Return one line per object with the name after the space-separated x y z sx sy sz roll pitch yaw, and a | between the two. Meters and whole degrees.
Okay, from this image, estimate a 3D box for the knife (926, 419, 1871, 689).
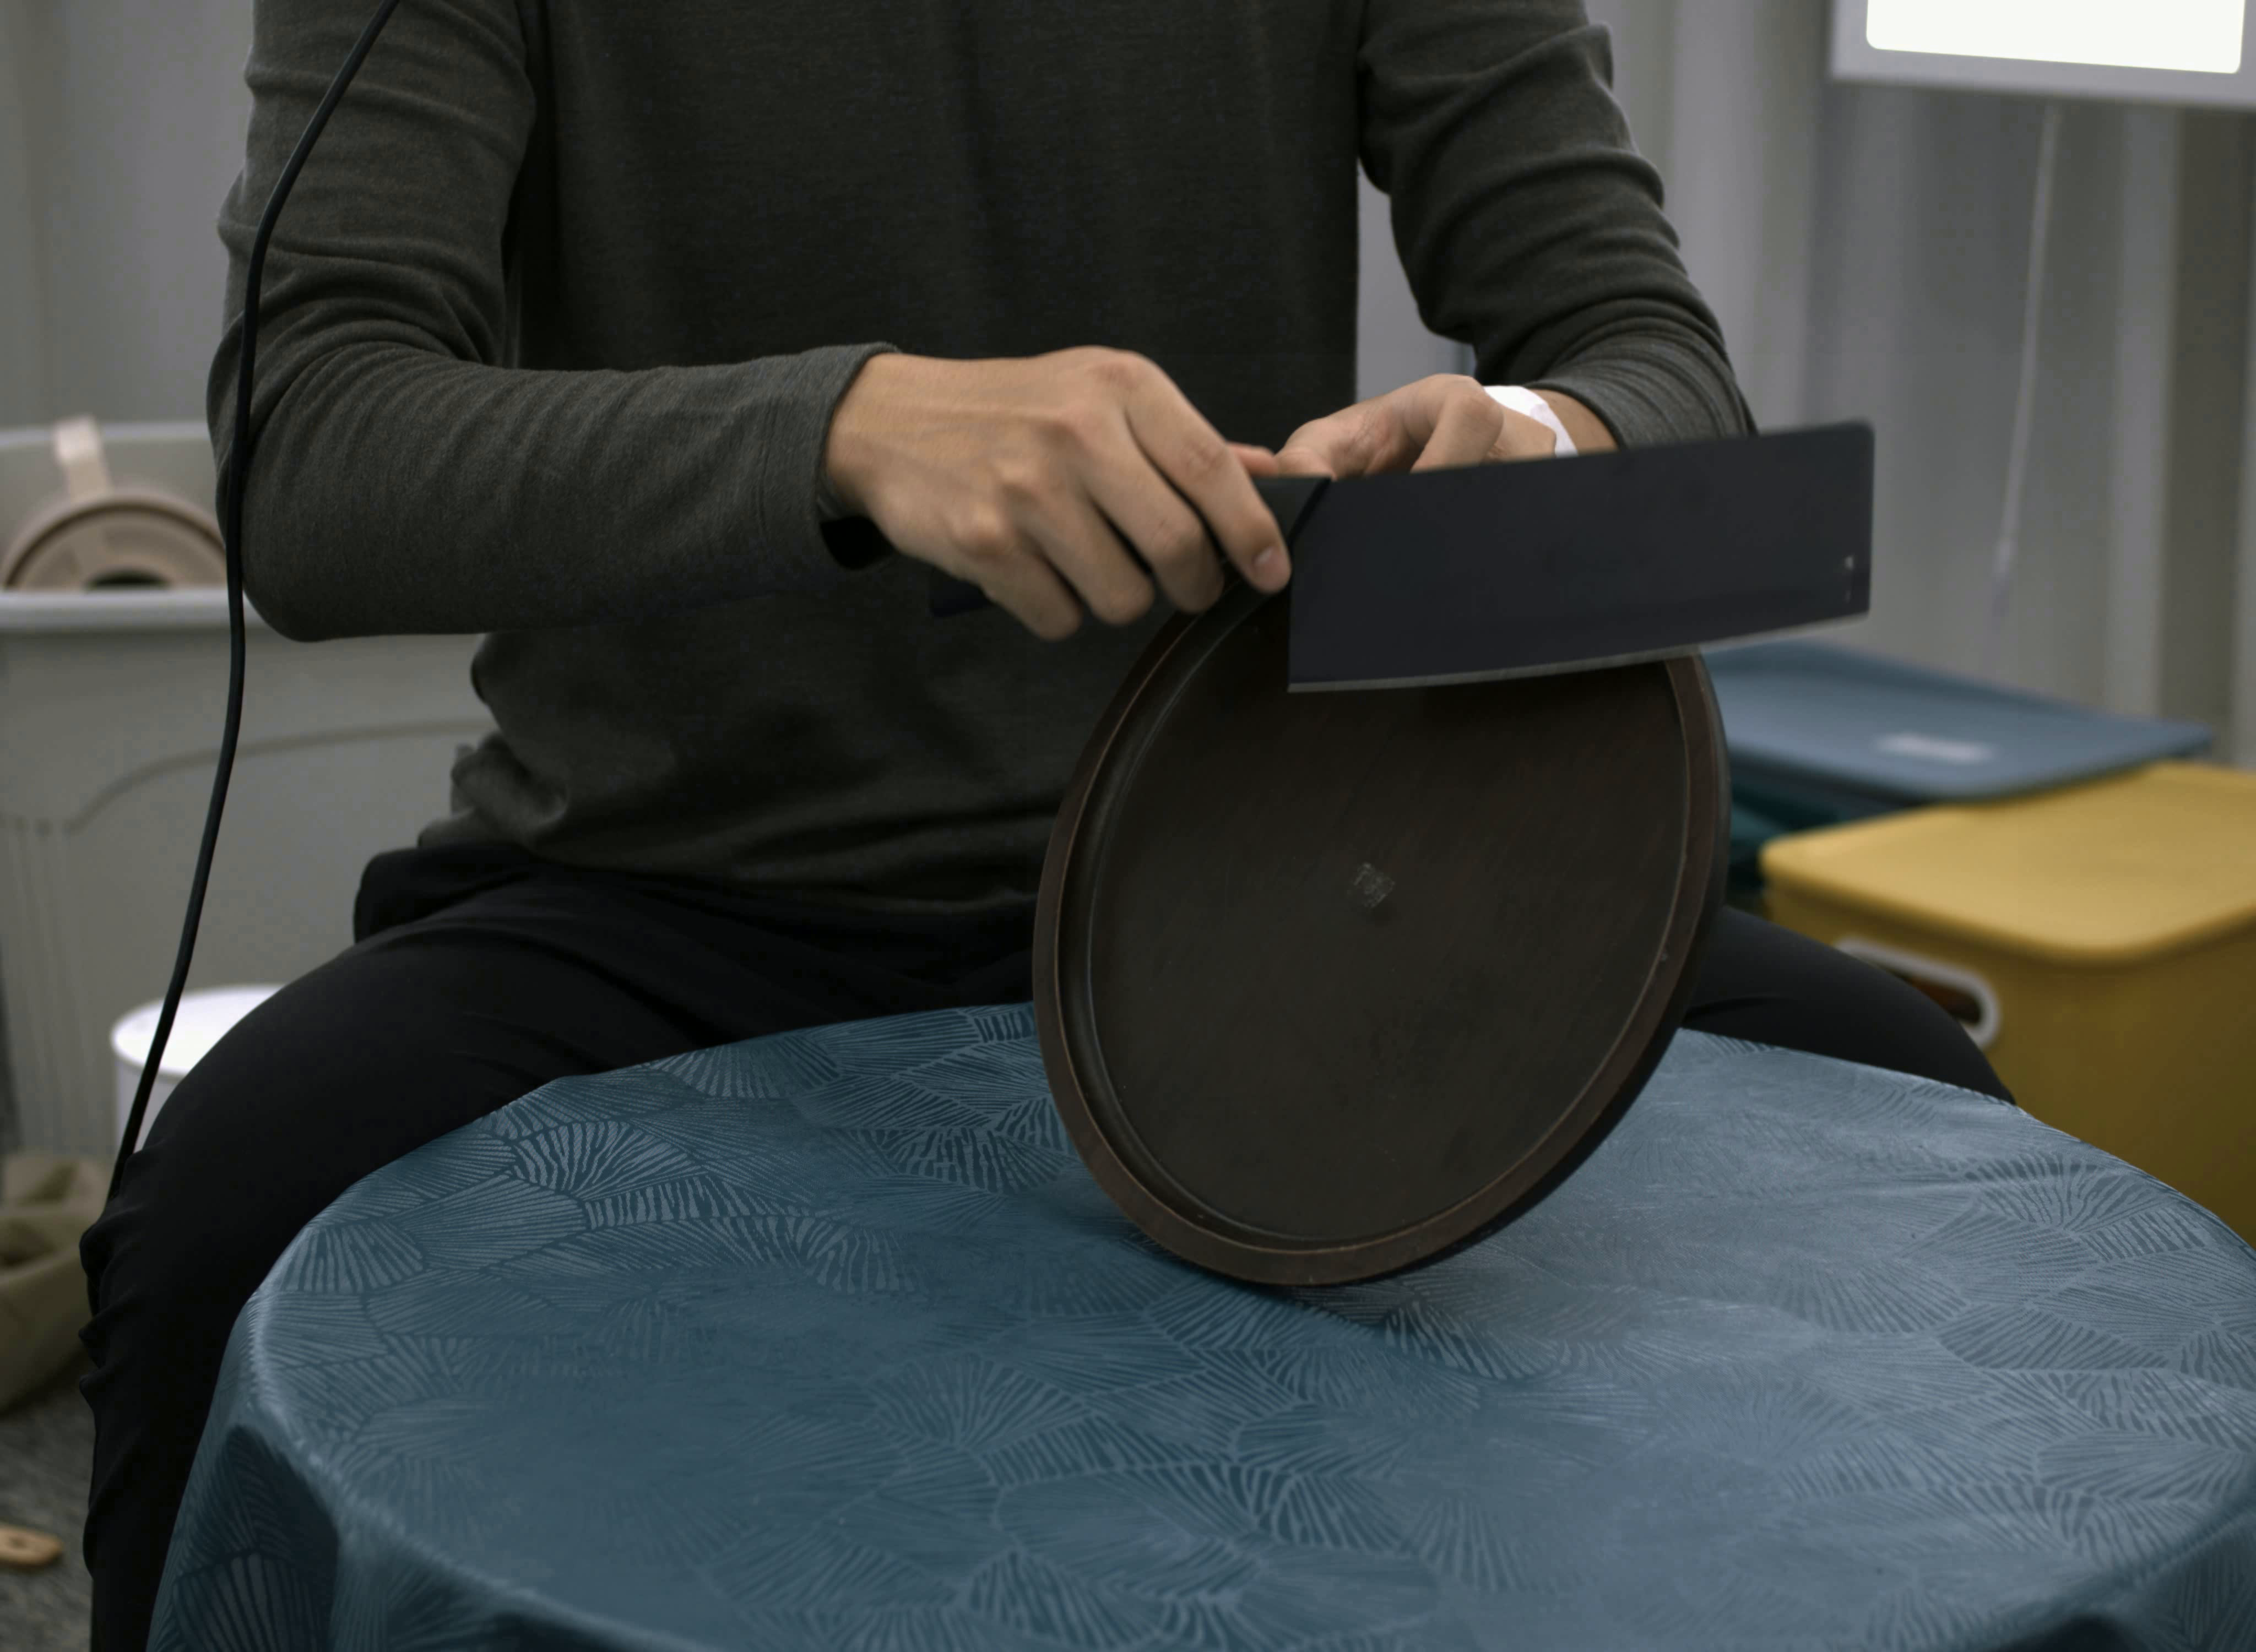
0.076 -0.078 1.551 0.299 0.081 0.021 0 -17 26 | knife

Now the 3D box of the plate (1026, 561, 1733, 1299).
0.073 0.018 1.565 0.251 0.255 0.029 16 -5 42 | plate
